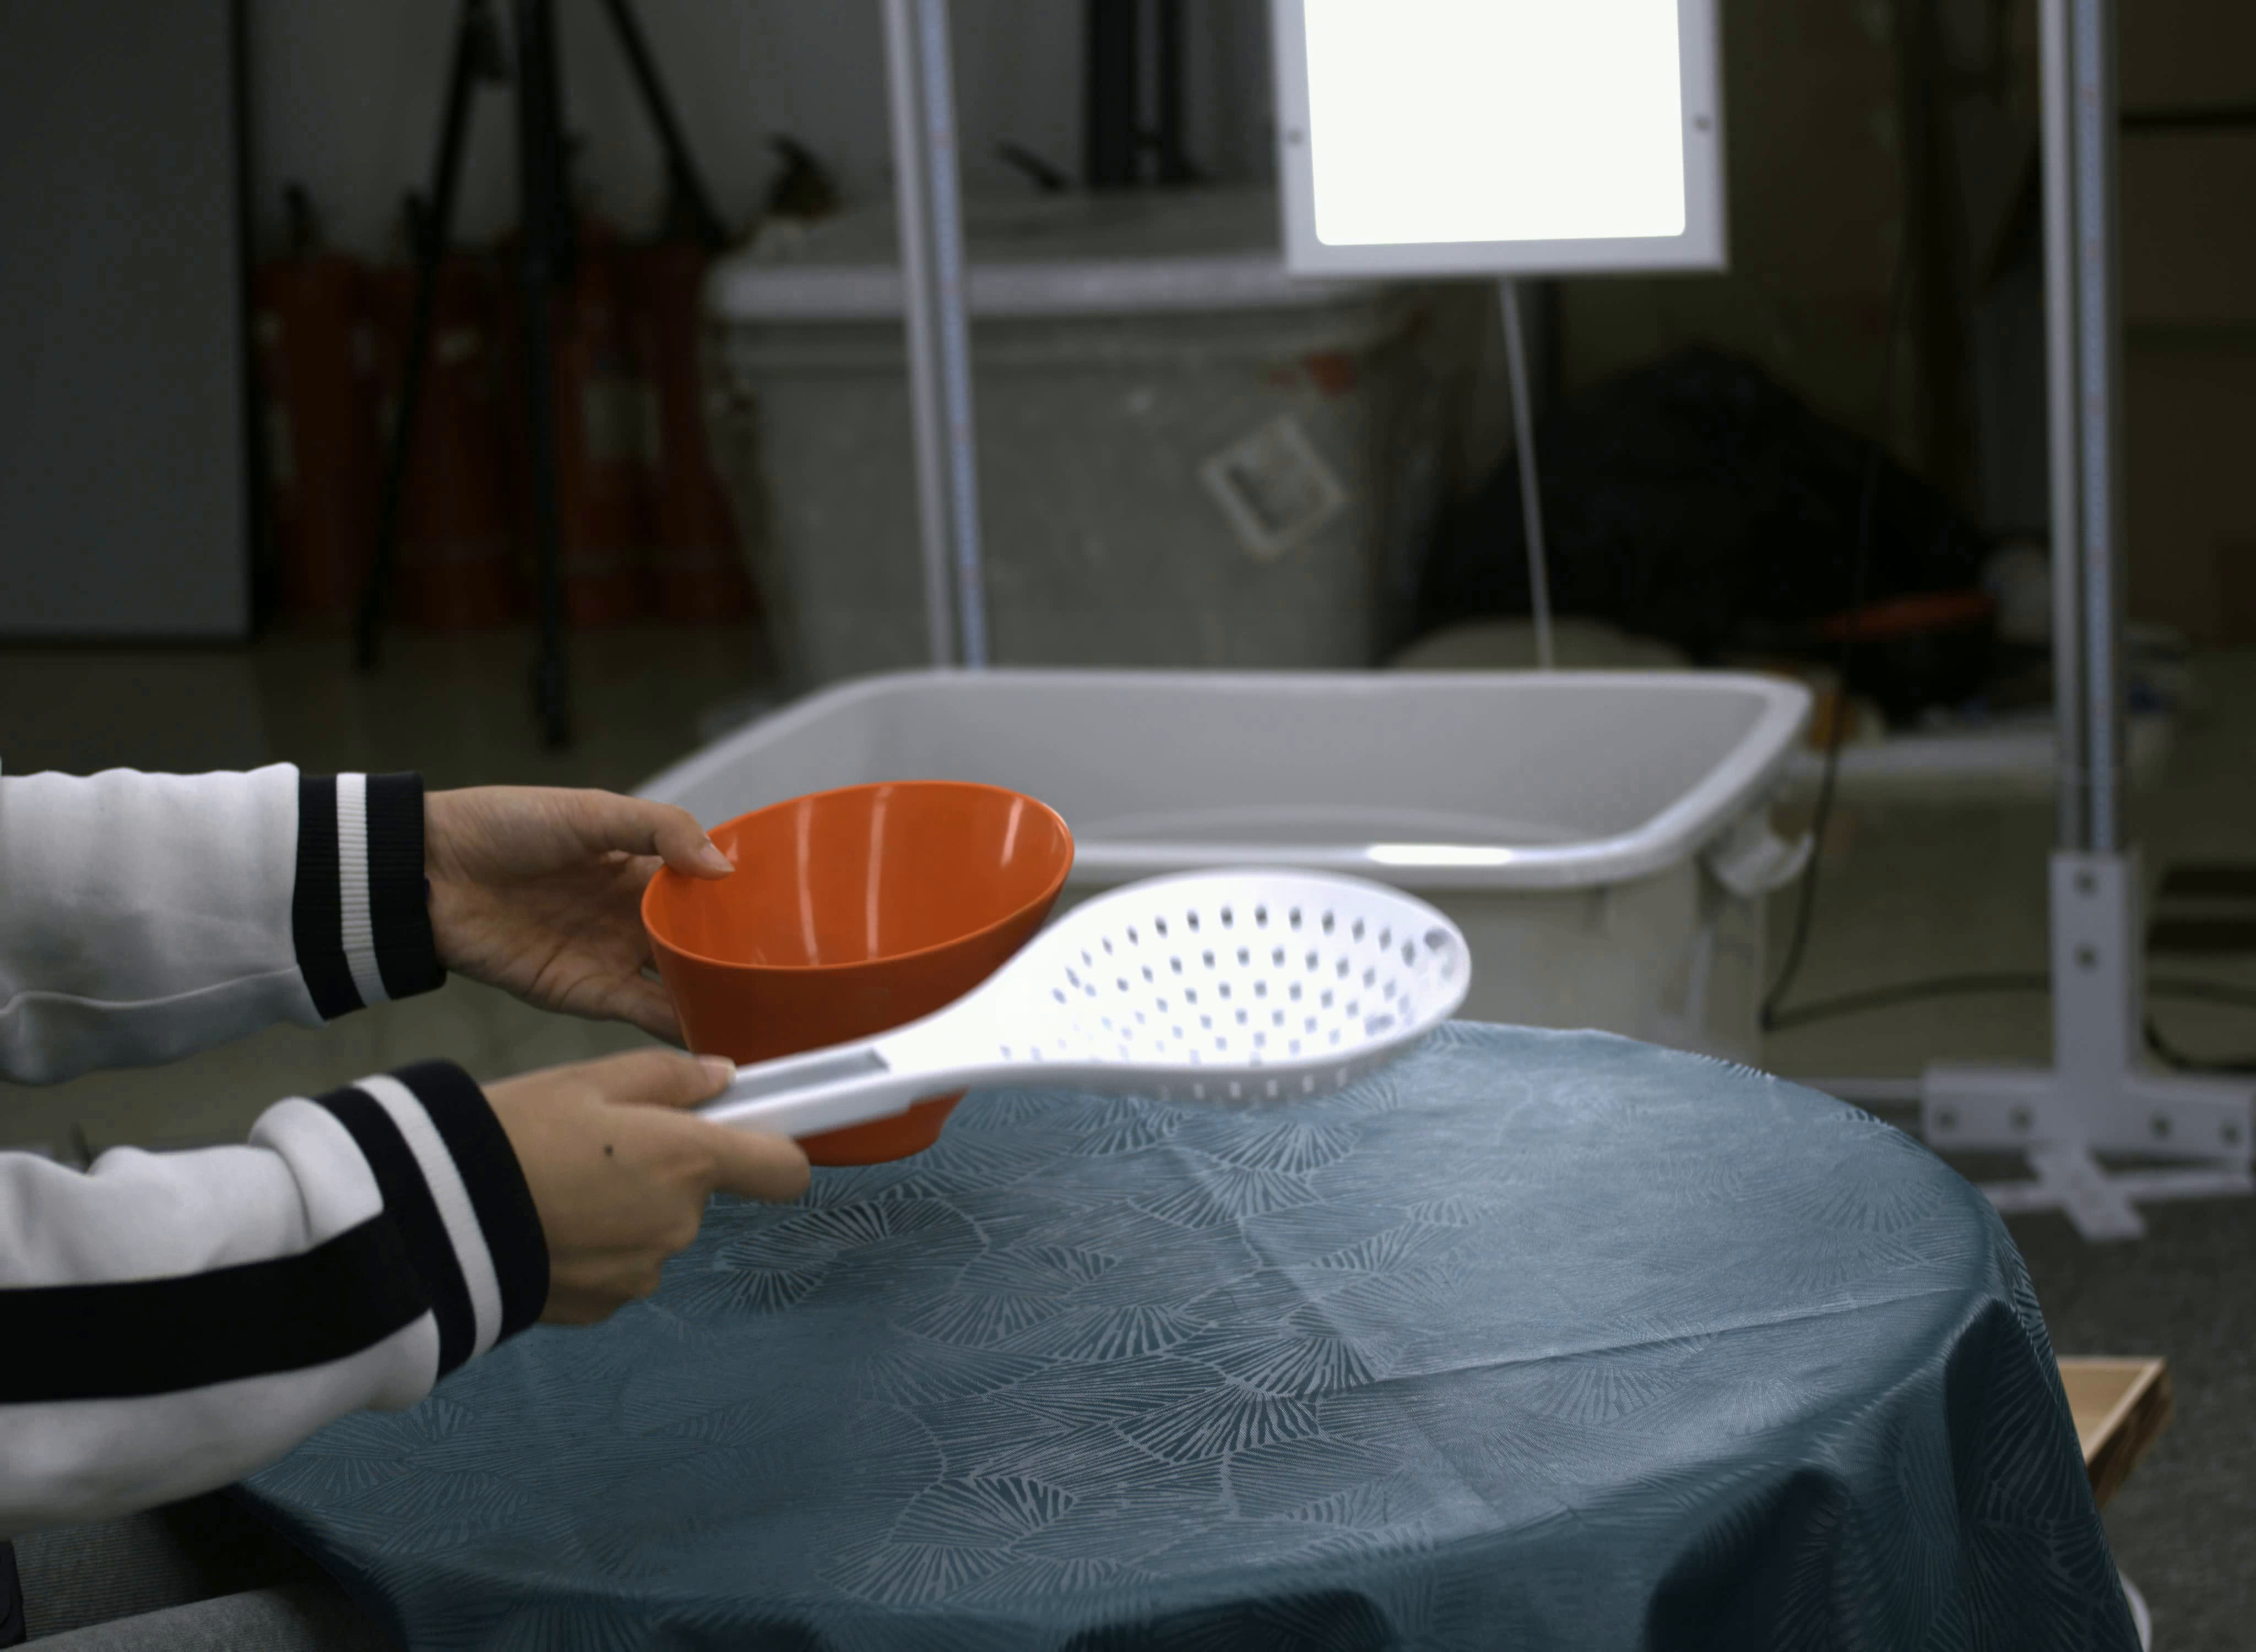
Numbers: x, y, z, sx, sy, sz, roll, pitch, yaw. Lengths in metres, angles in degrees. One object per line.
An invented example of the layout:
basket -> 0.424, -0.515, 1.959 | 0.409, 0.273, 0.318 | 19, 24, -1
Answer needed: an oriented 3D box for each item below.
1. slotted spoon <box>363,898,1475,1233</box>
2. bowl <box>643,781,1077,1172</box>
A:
slotted spoon -> -0.058, 0.076, 1.640 | 0.343, 0.046, 0.138 | -7, 23, -23
bowl -> -0.091, 0.055, 1.879 | 0.147, 0.105, 0.148 | -1, 19, -1
